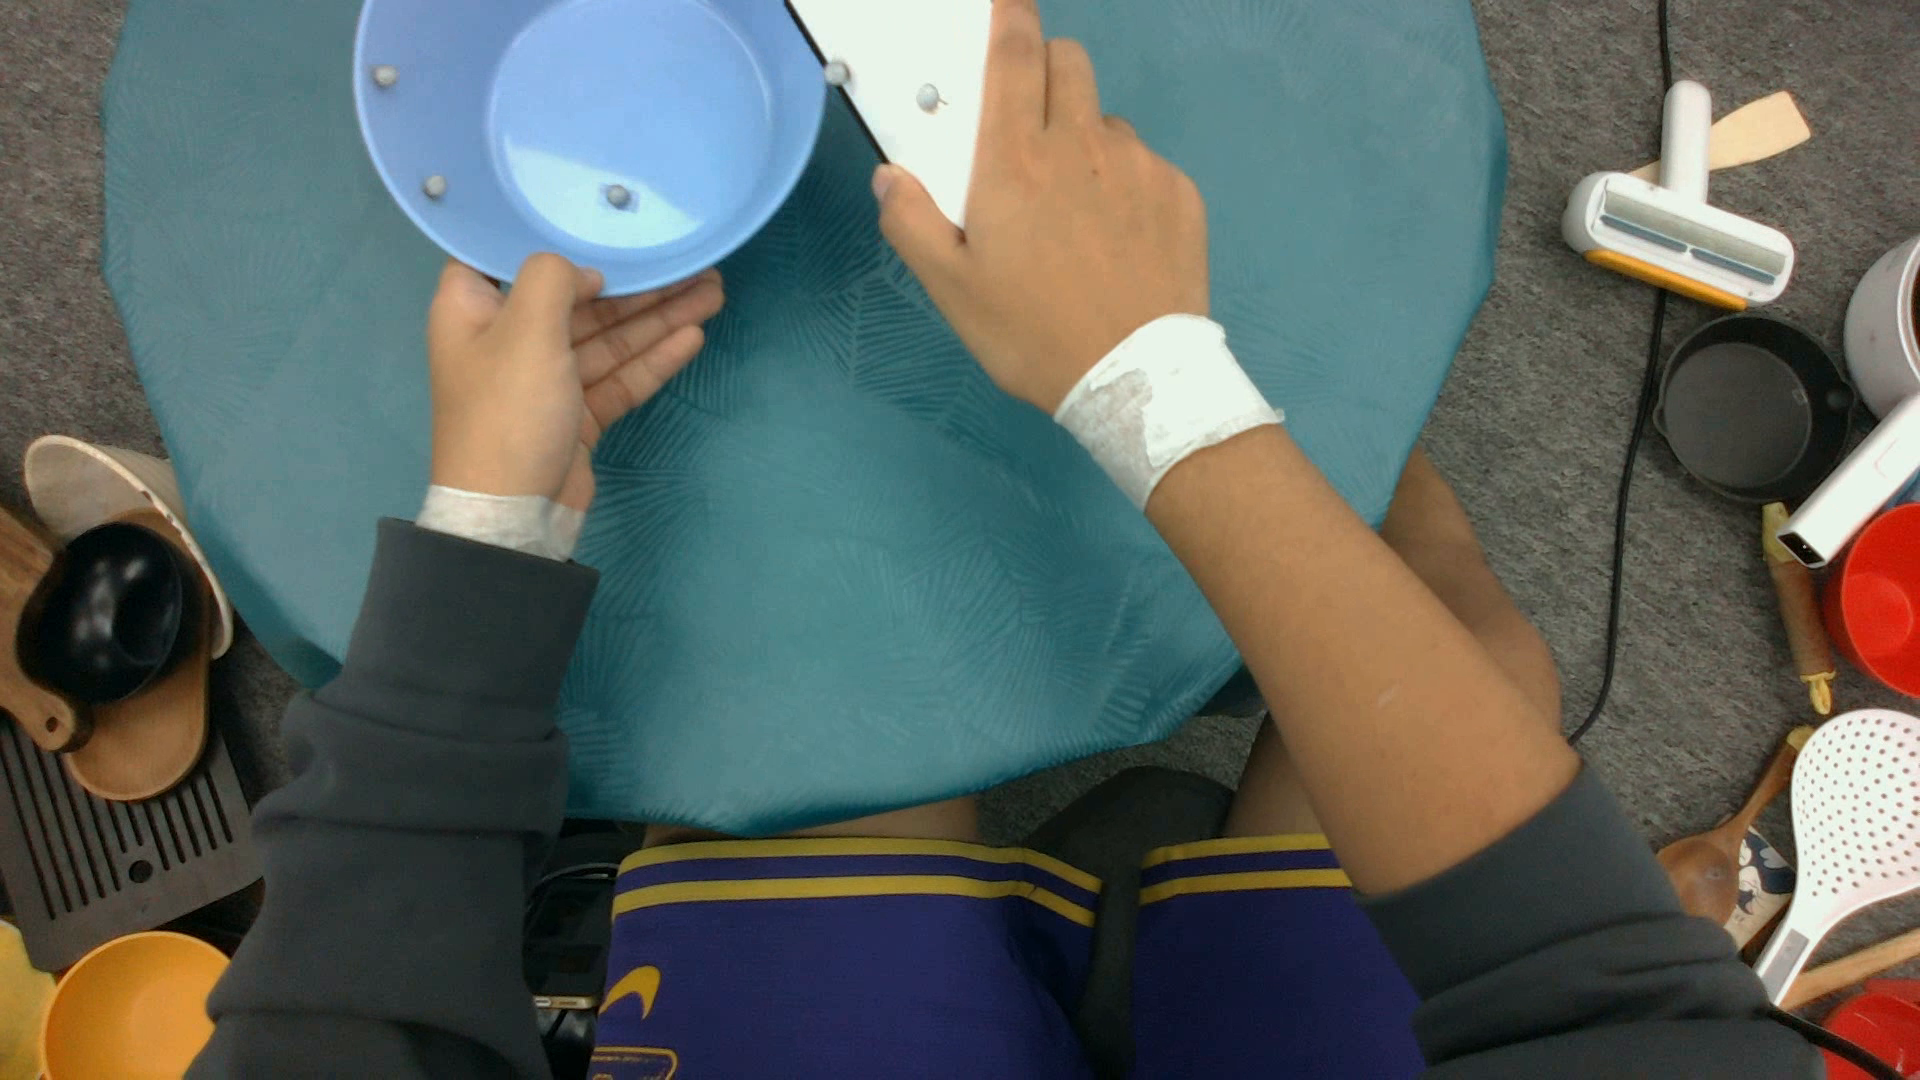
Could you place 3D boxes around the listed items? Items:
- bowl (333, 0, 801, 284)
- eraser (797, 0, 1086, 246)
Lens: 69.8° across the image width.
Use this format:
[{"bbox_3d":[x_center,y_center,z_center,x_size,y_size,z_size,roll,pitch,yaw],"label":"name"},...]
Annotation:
[{"bbox_3d":[-0.146,-0.180,0.544,0.176,0.070,0.176,0,87,1],"label":"bowl"},{"bbox_3d":[-0.010,-0.170,0.500,0.063,0.034,0.131,-26,79,-21],"label":"eraser"}]
